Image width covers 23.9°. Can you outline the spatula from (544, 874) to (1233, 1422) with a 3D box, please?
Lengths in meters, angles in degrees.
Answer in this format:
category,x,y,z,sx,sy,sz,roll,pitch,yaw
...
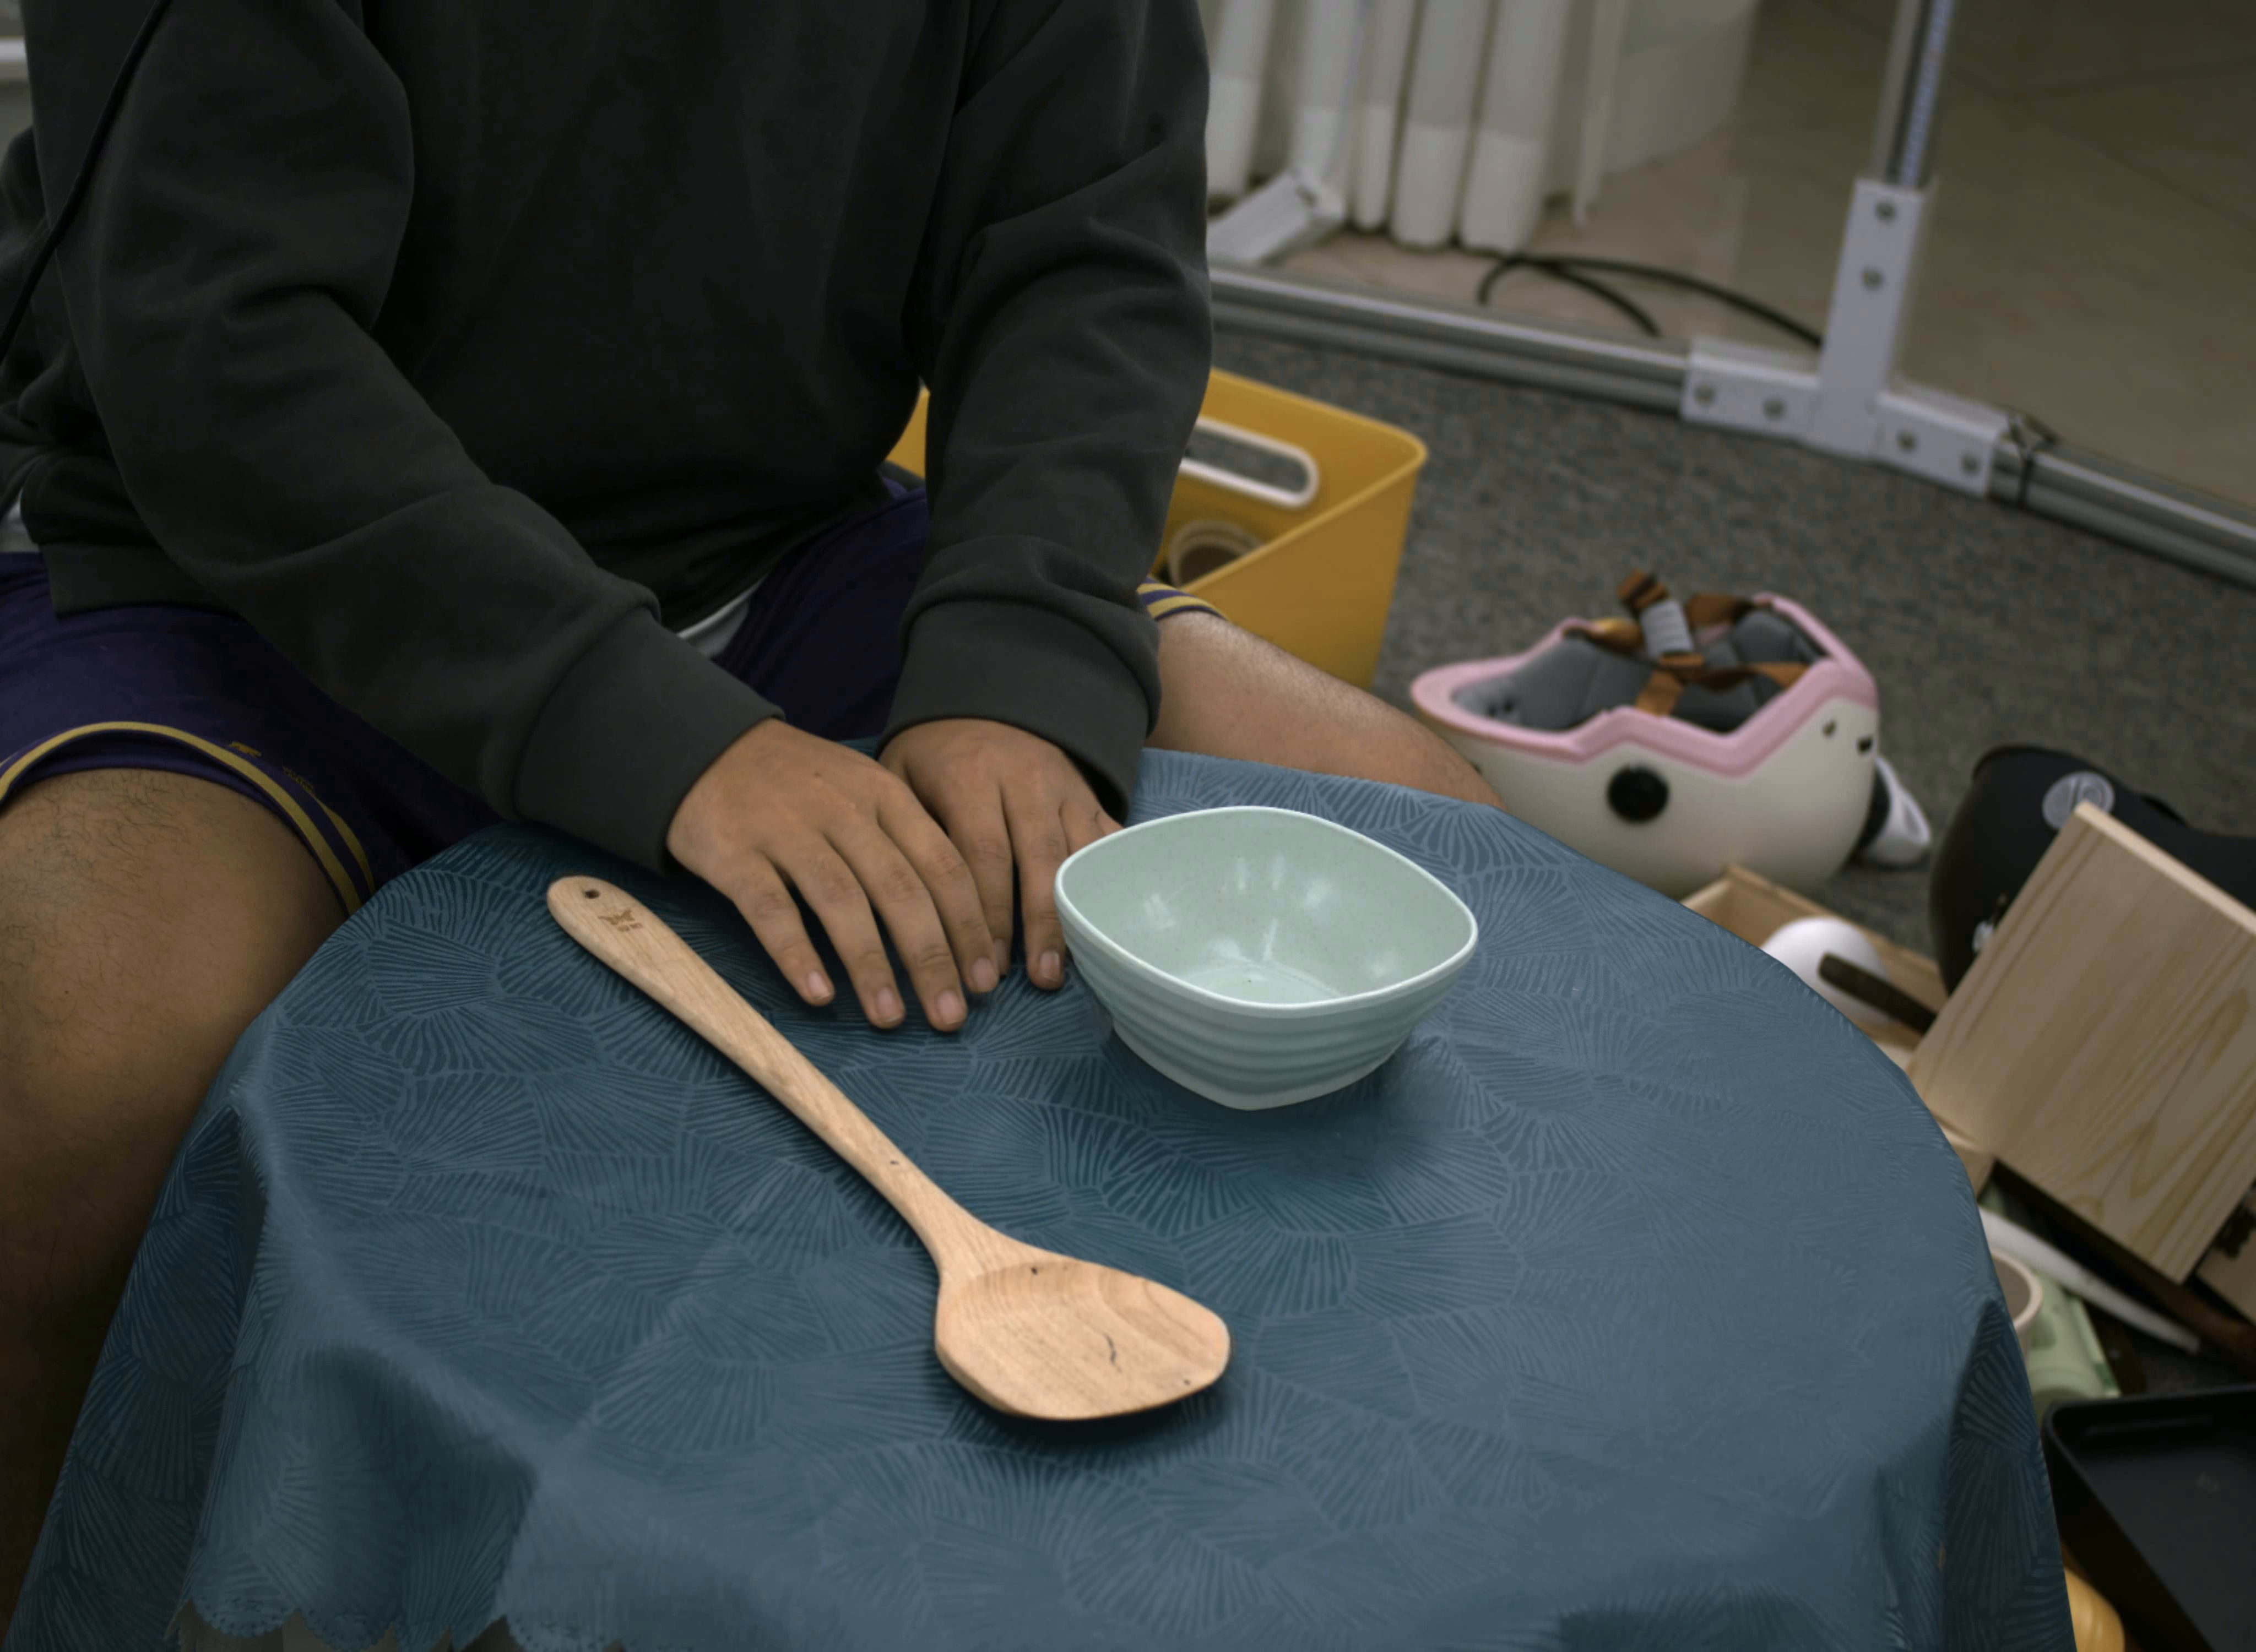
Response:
category,x,y,z,sx,sy,sz,roll,pitch,yaw
spatula,-0.103,0.102,1.800,0.095,0.018,0.394,-10,32,-33

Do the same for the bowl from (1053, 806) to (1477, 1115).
category,x,y,z,sx,sy,sz,roll,pitch,yaw
bowl,0.045,0.053,1.890,0.151,0.058,0.152,6,28,-4
